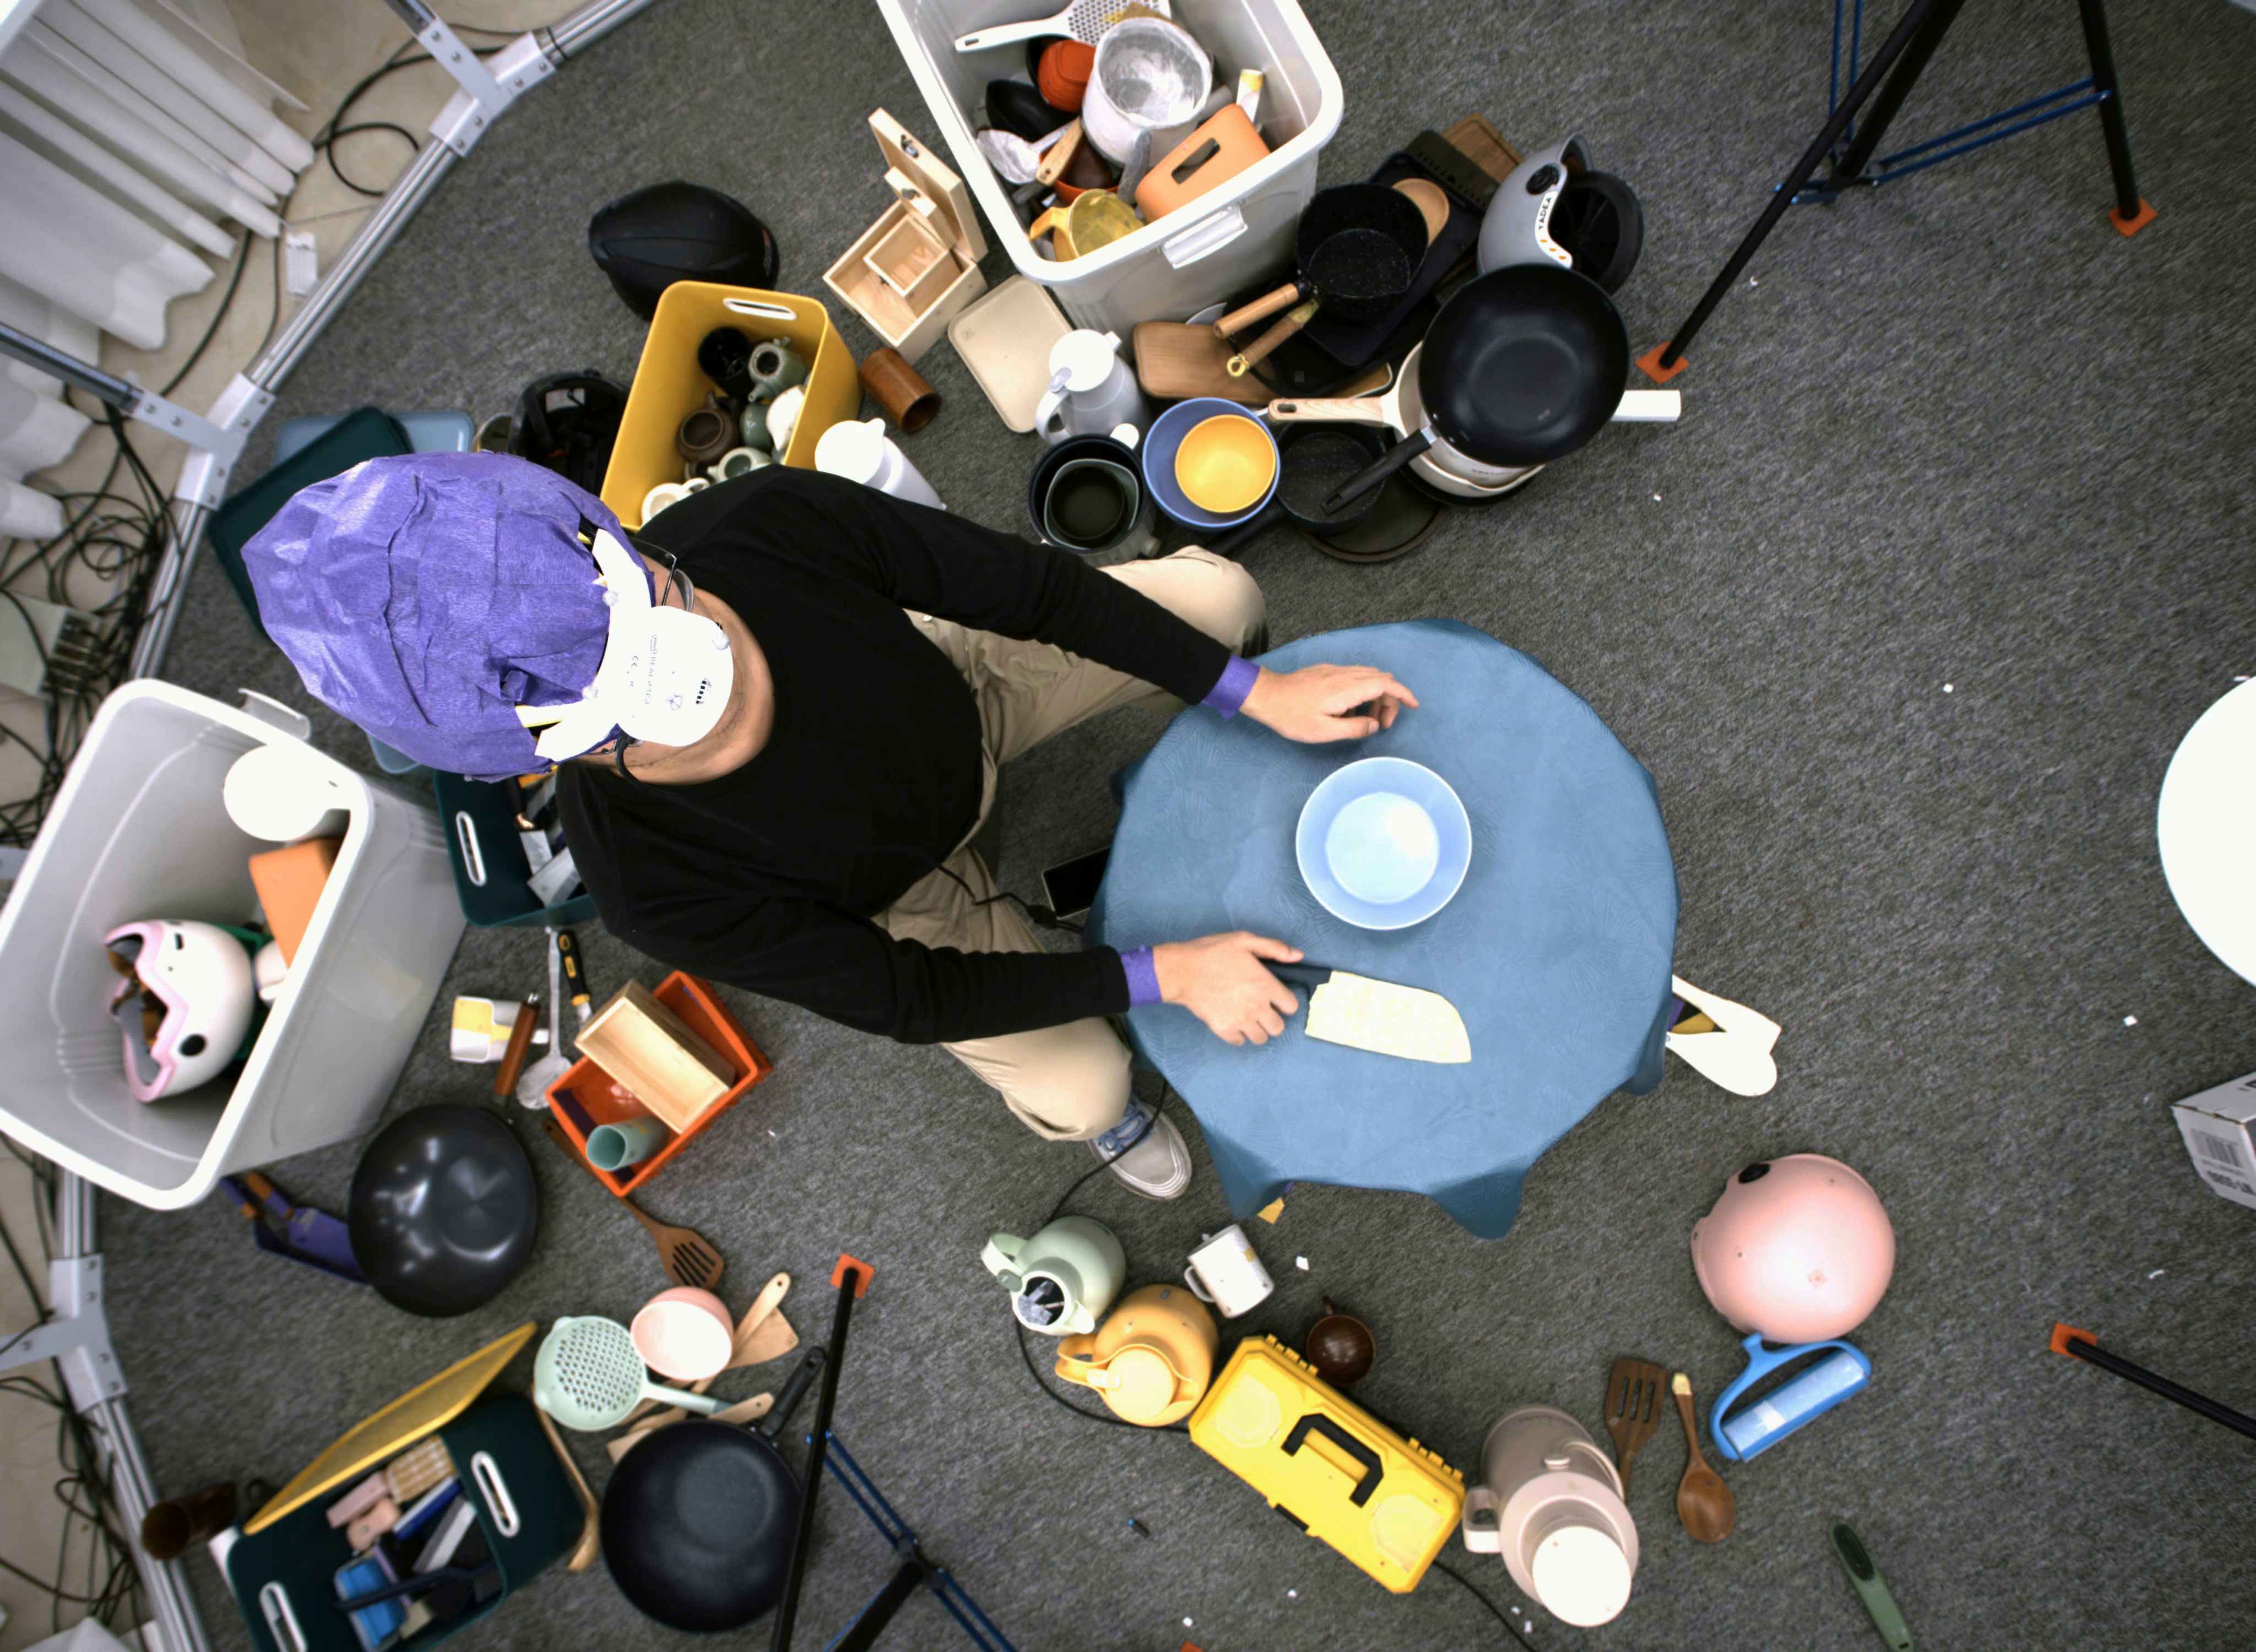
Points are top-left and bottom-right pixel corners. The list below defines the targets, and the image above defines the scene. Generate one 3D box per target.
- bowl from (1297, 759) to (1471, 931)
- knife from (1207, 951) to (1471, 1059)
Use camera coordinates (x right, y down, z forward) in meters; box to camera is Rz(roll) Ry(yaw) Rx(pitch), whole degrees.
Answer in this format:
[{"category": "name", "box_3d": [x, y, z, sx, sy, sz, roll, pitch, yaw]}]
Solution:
[{"category": "bowl", "box_3d": [0.264, 0.020, 1.430, 0.177, 0.070, 0.175, -1, 87, 11]}, {"category": "knife", "box_3d": [0.219, 0.186, 1.459, 0.290, 0.027, 0.081, 15, 89, 10]}]
